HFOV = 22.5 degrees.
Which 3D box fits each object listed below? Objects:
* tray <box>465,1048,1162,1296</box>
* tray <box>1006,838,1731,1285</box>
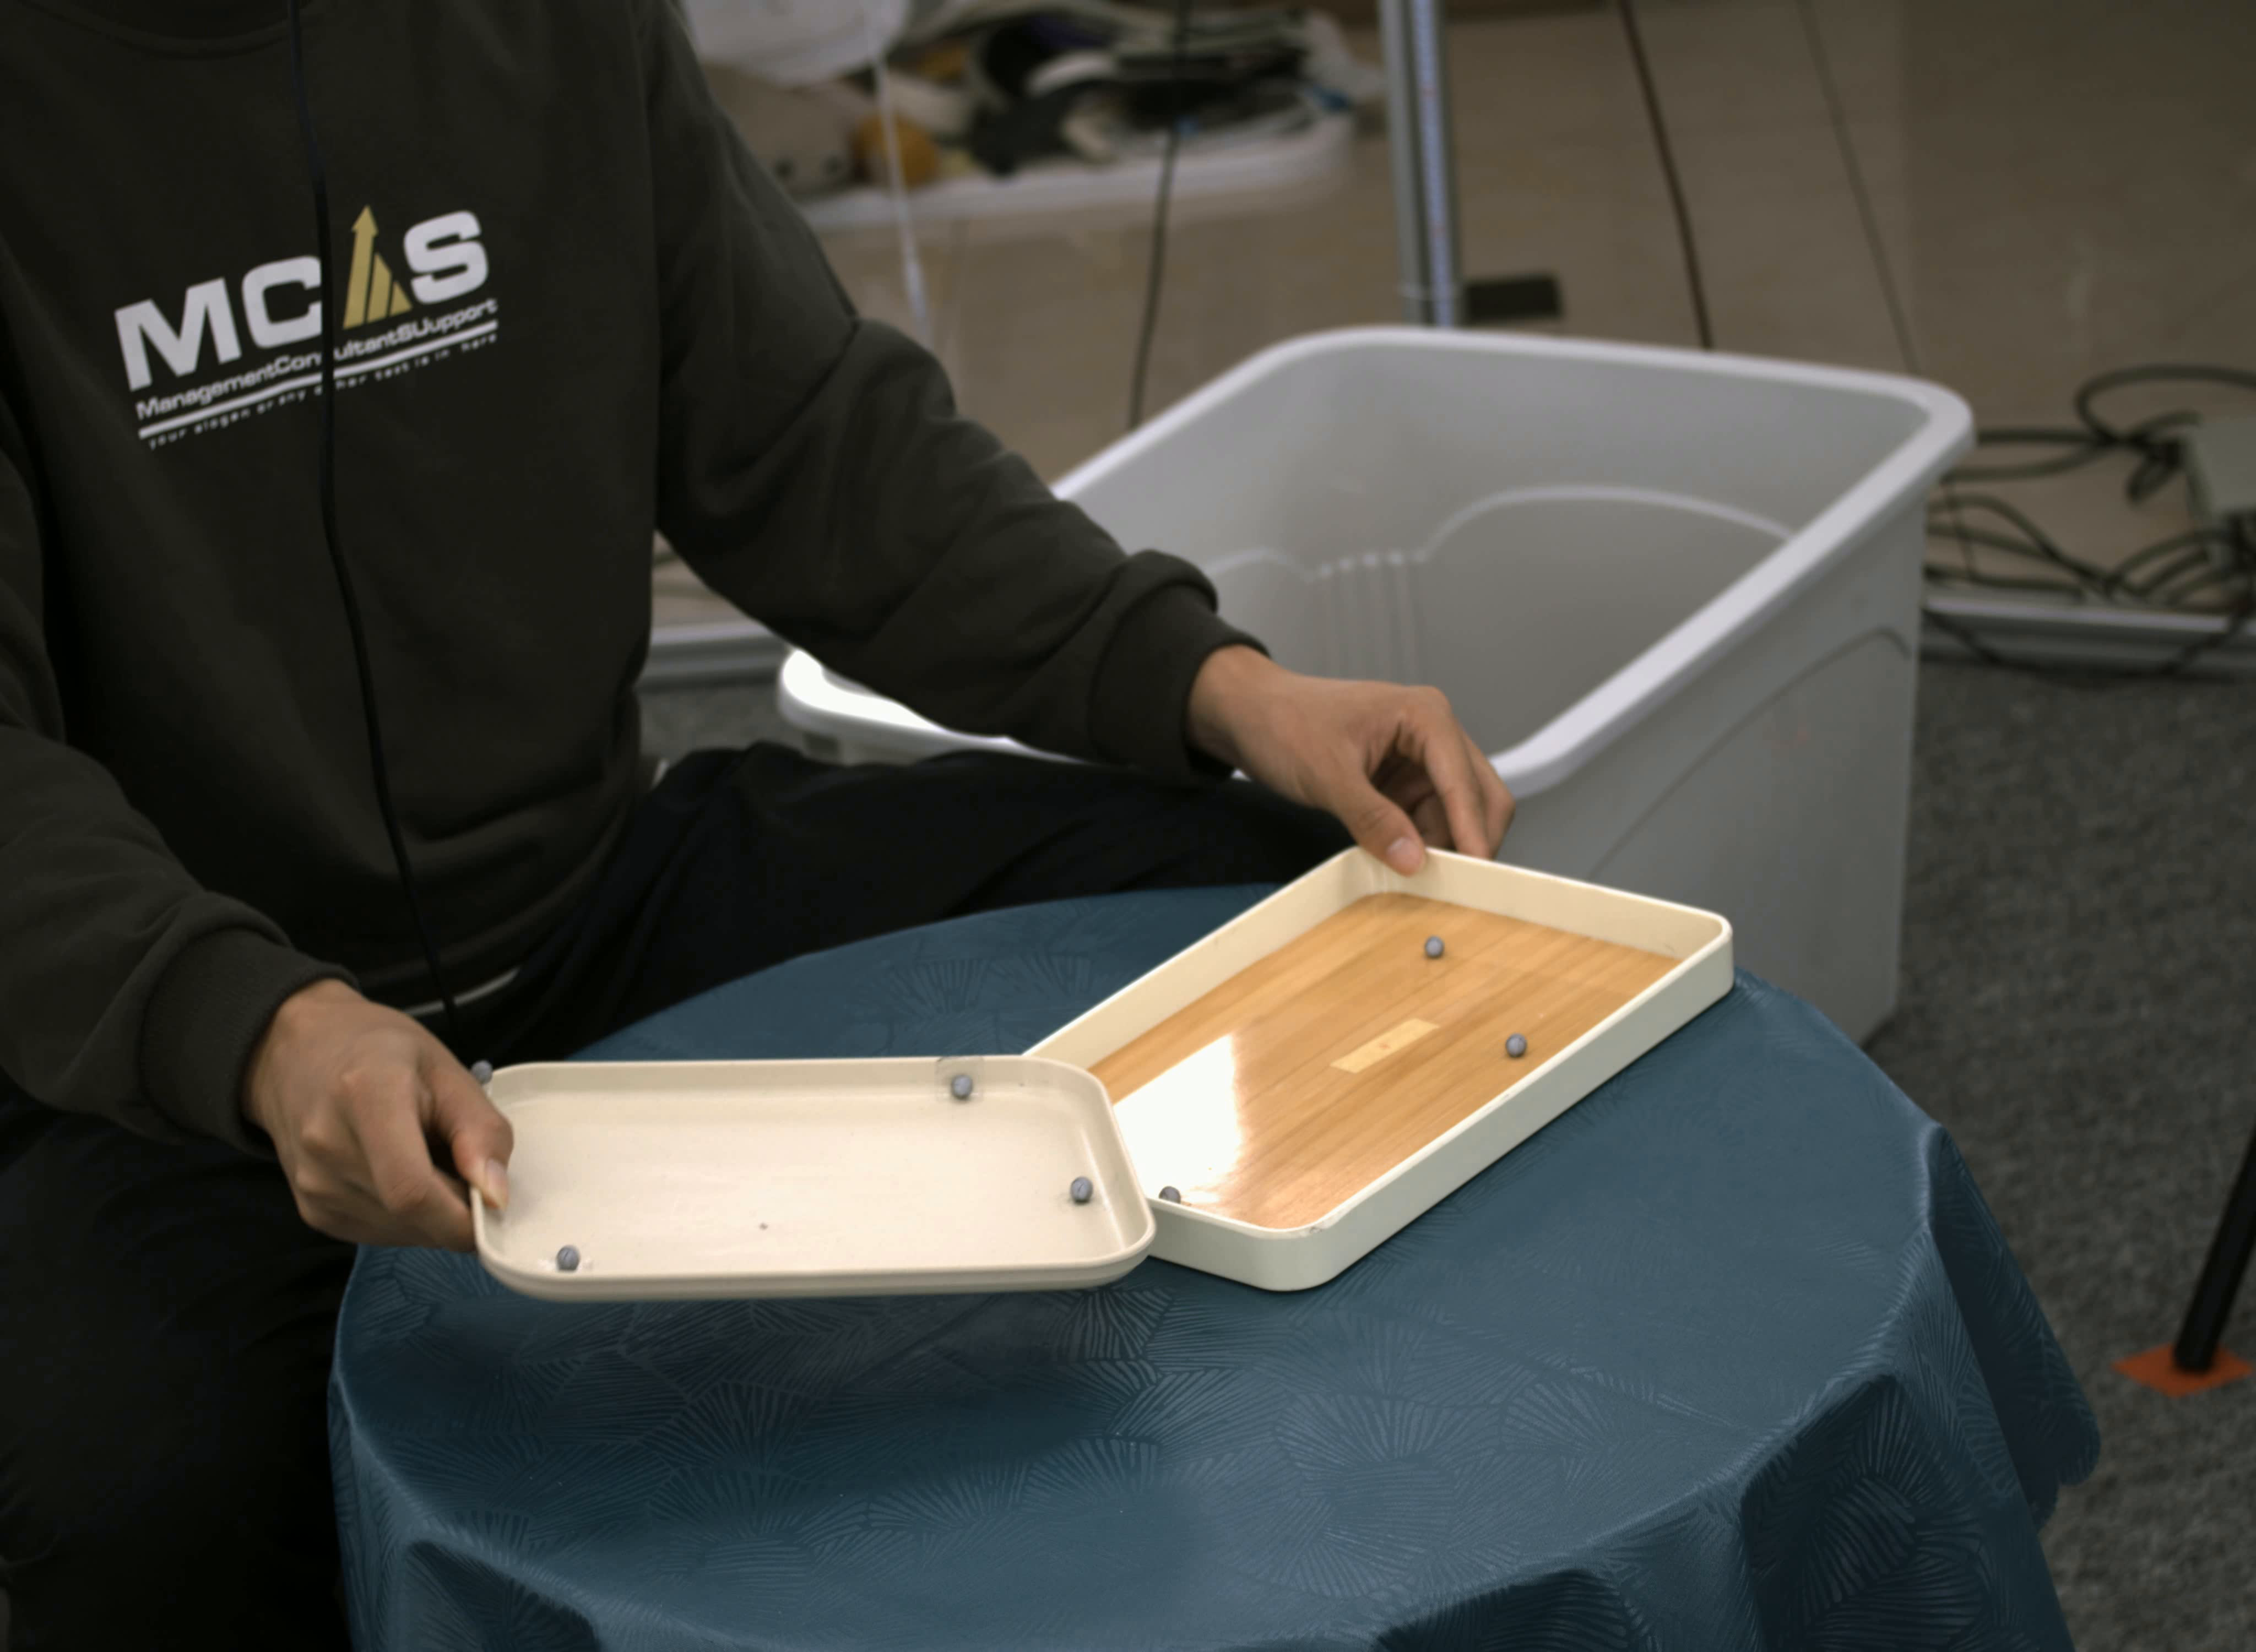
[{"bbox_3d":[-0.115,0.125,2.036,0.239,0.018,0.169,0,24,-10],"label":"tray"},{"bbox_3d":[0.081,0.087,2.208,0.190,0.028,0.297,13,31,37],"label":"tray"}]
